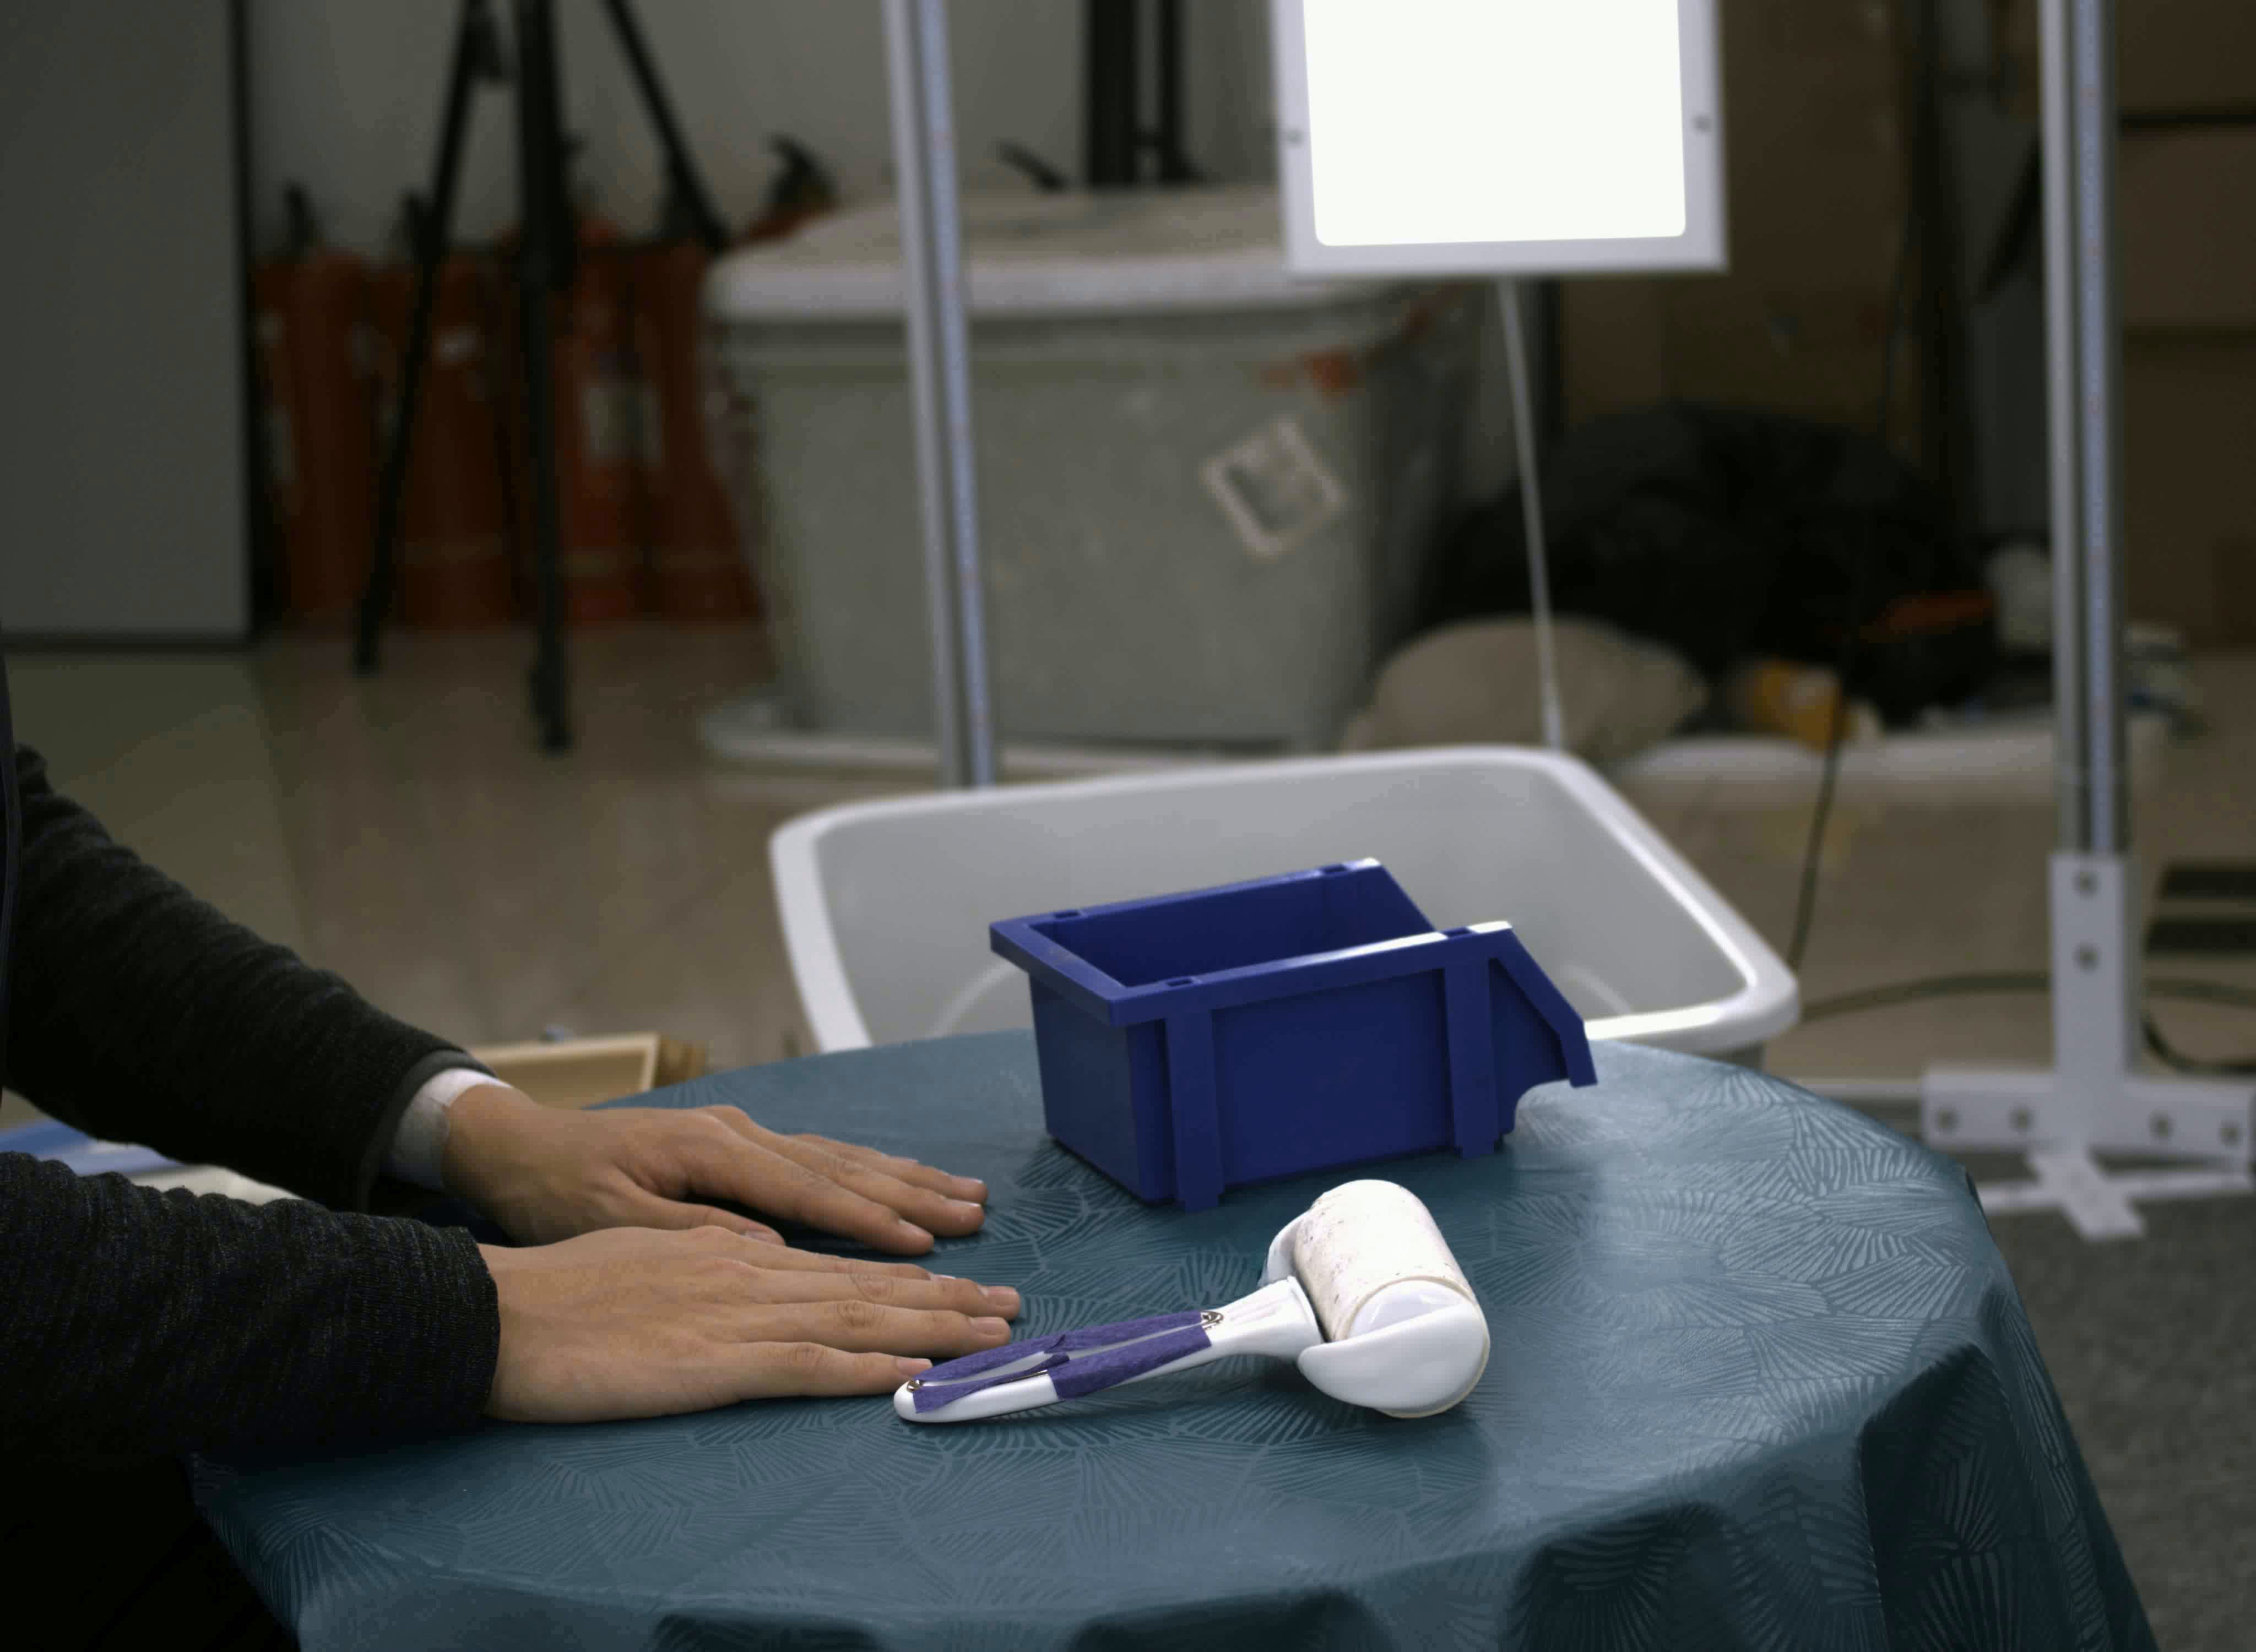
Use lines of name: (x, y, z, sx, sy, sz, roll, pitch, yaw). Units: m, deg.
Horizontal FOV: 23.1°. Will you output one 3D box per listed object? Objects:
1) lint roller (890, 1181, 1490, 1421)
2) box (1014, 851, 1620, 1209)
lint roller: (0.016, 0.150, 1.695, 0.180, 0.050, 0.133, -4, 15, -2)
box: (0.066, 0.068, 1.940, 0.176, 0.082, 0.126, -12, 15, -16)
